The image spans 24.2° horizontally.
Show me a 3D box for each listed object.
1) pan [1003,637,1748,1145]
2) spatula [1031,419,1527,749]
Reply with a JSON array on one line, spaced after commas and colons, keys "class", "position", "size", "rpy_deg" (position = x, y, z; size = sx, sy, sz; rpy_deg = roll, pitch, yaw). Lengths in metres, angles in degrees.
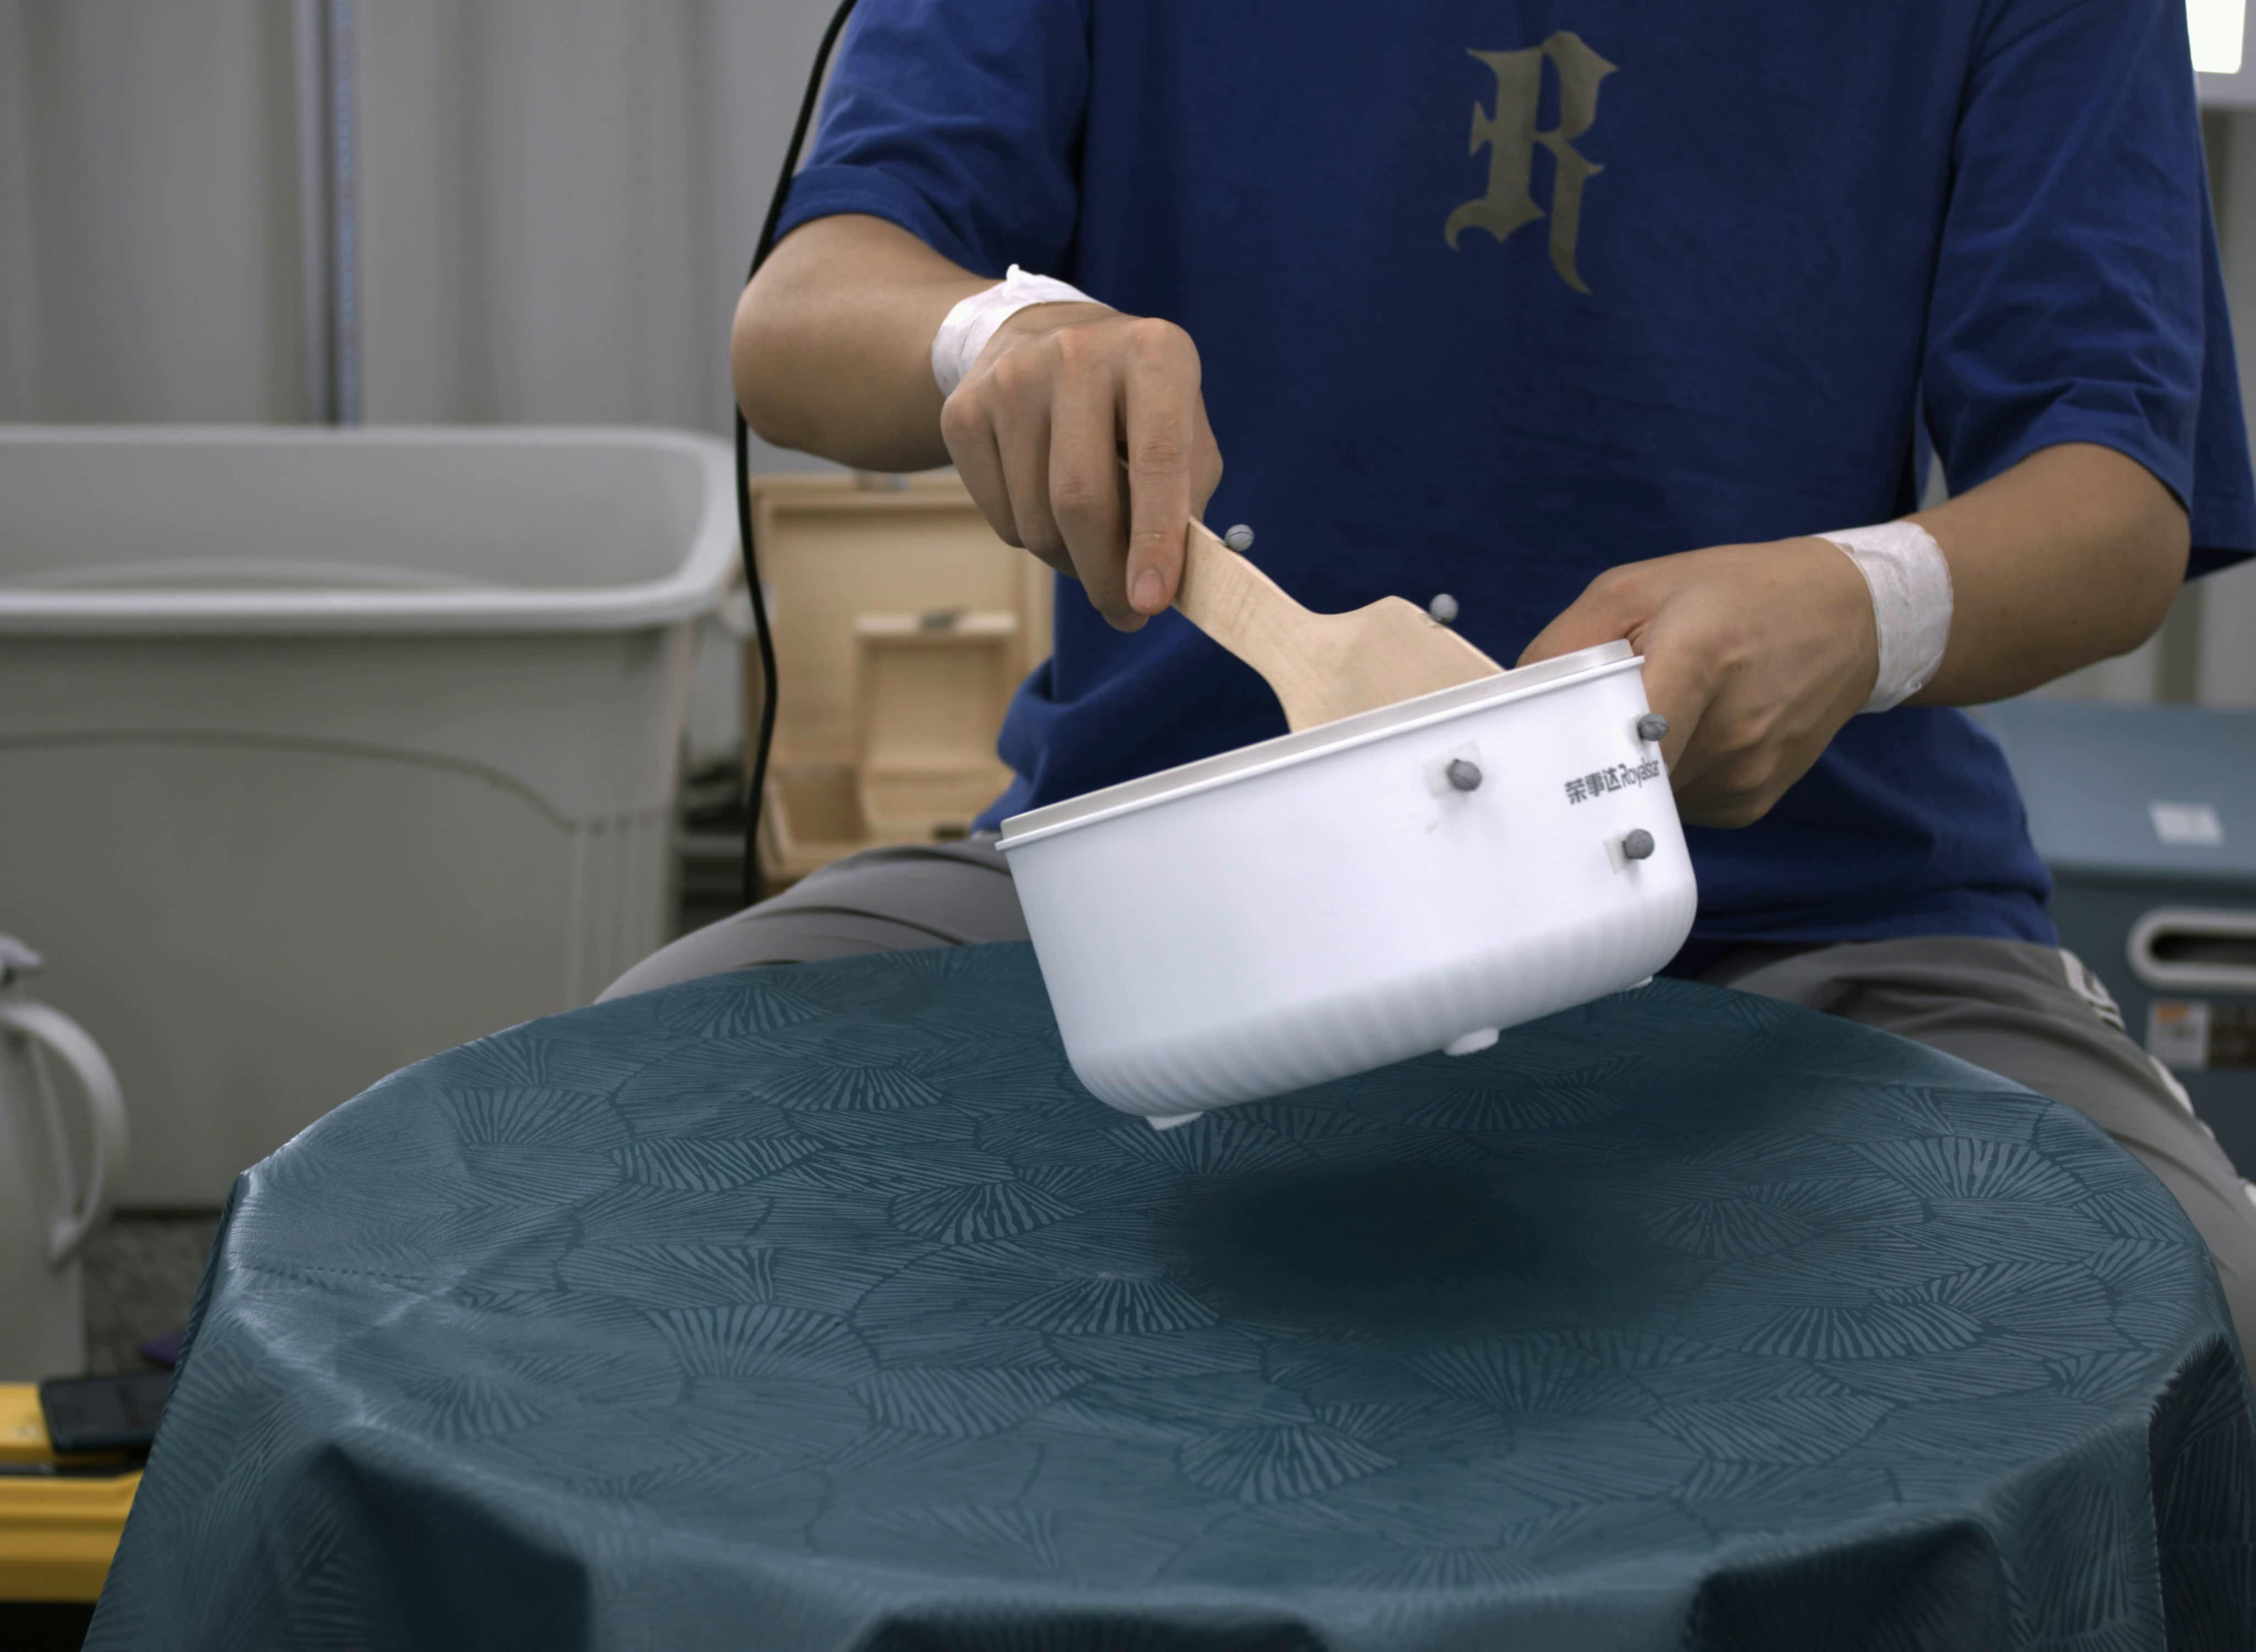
[{"class": "pan", "position": [0.110, 0.011, 1.627], "size": [0.200, 0.102, 0.356], "rpy_deg": [-19, -1, 31]}, {"class": "spatula", "position": [0.039, -0.067, 1.623], "size": [0.011, 0.072, 0.289], "rpy_deg": [11, 18, -34]}]
